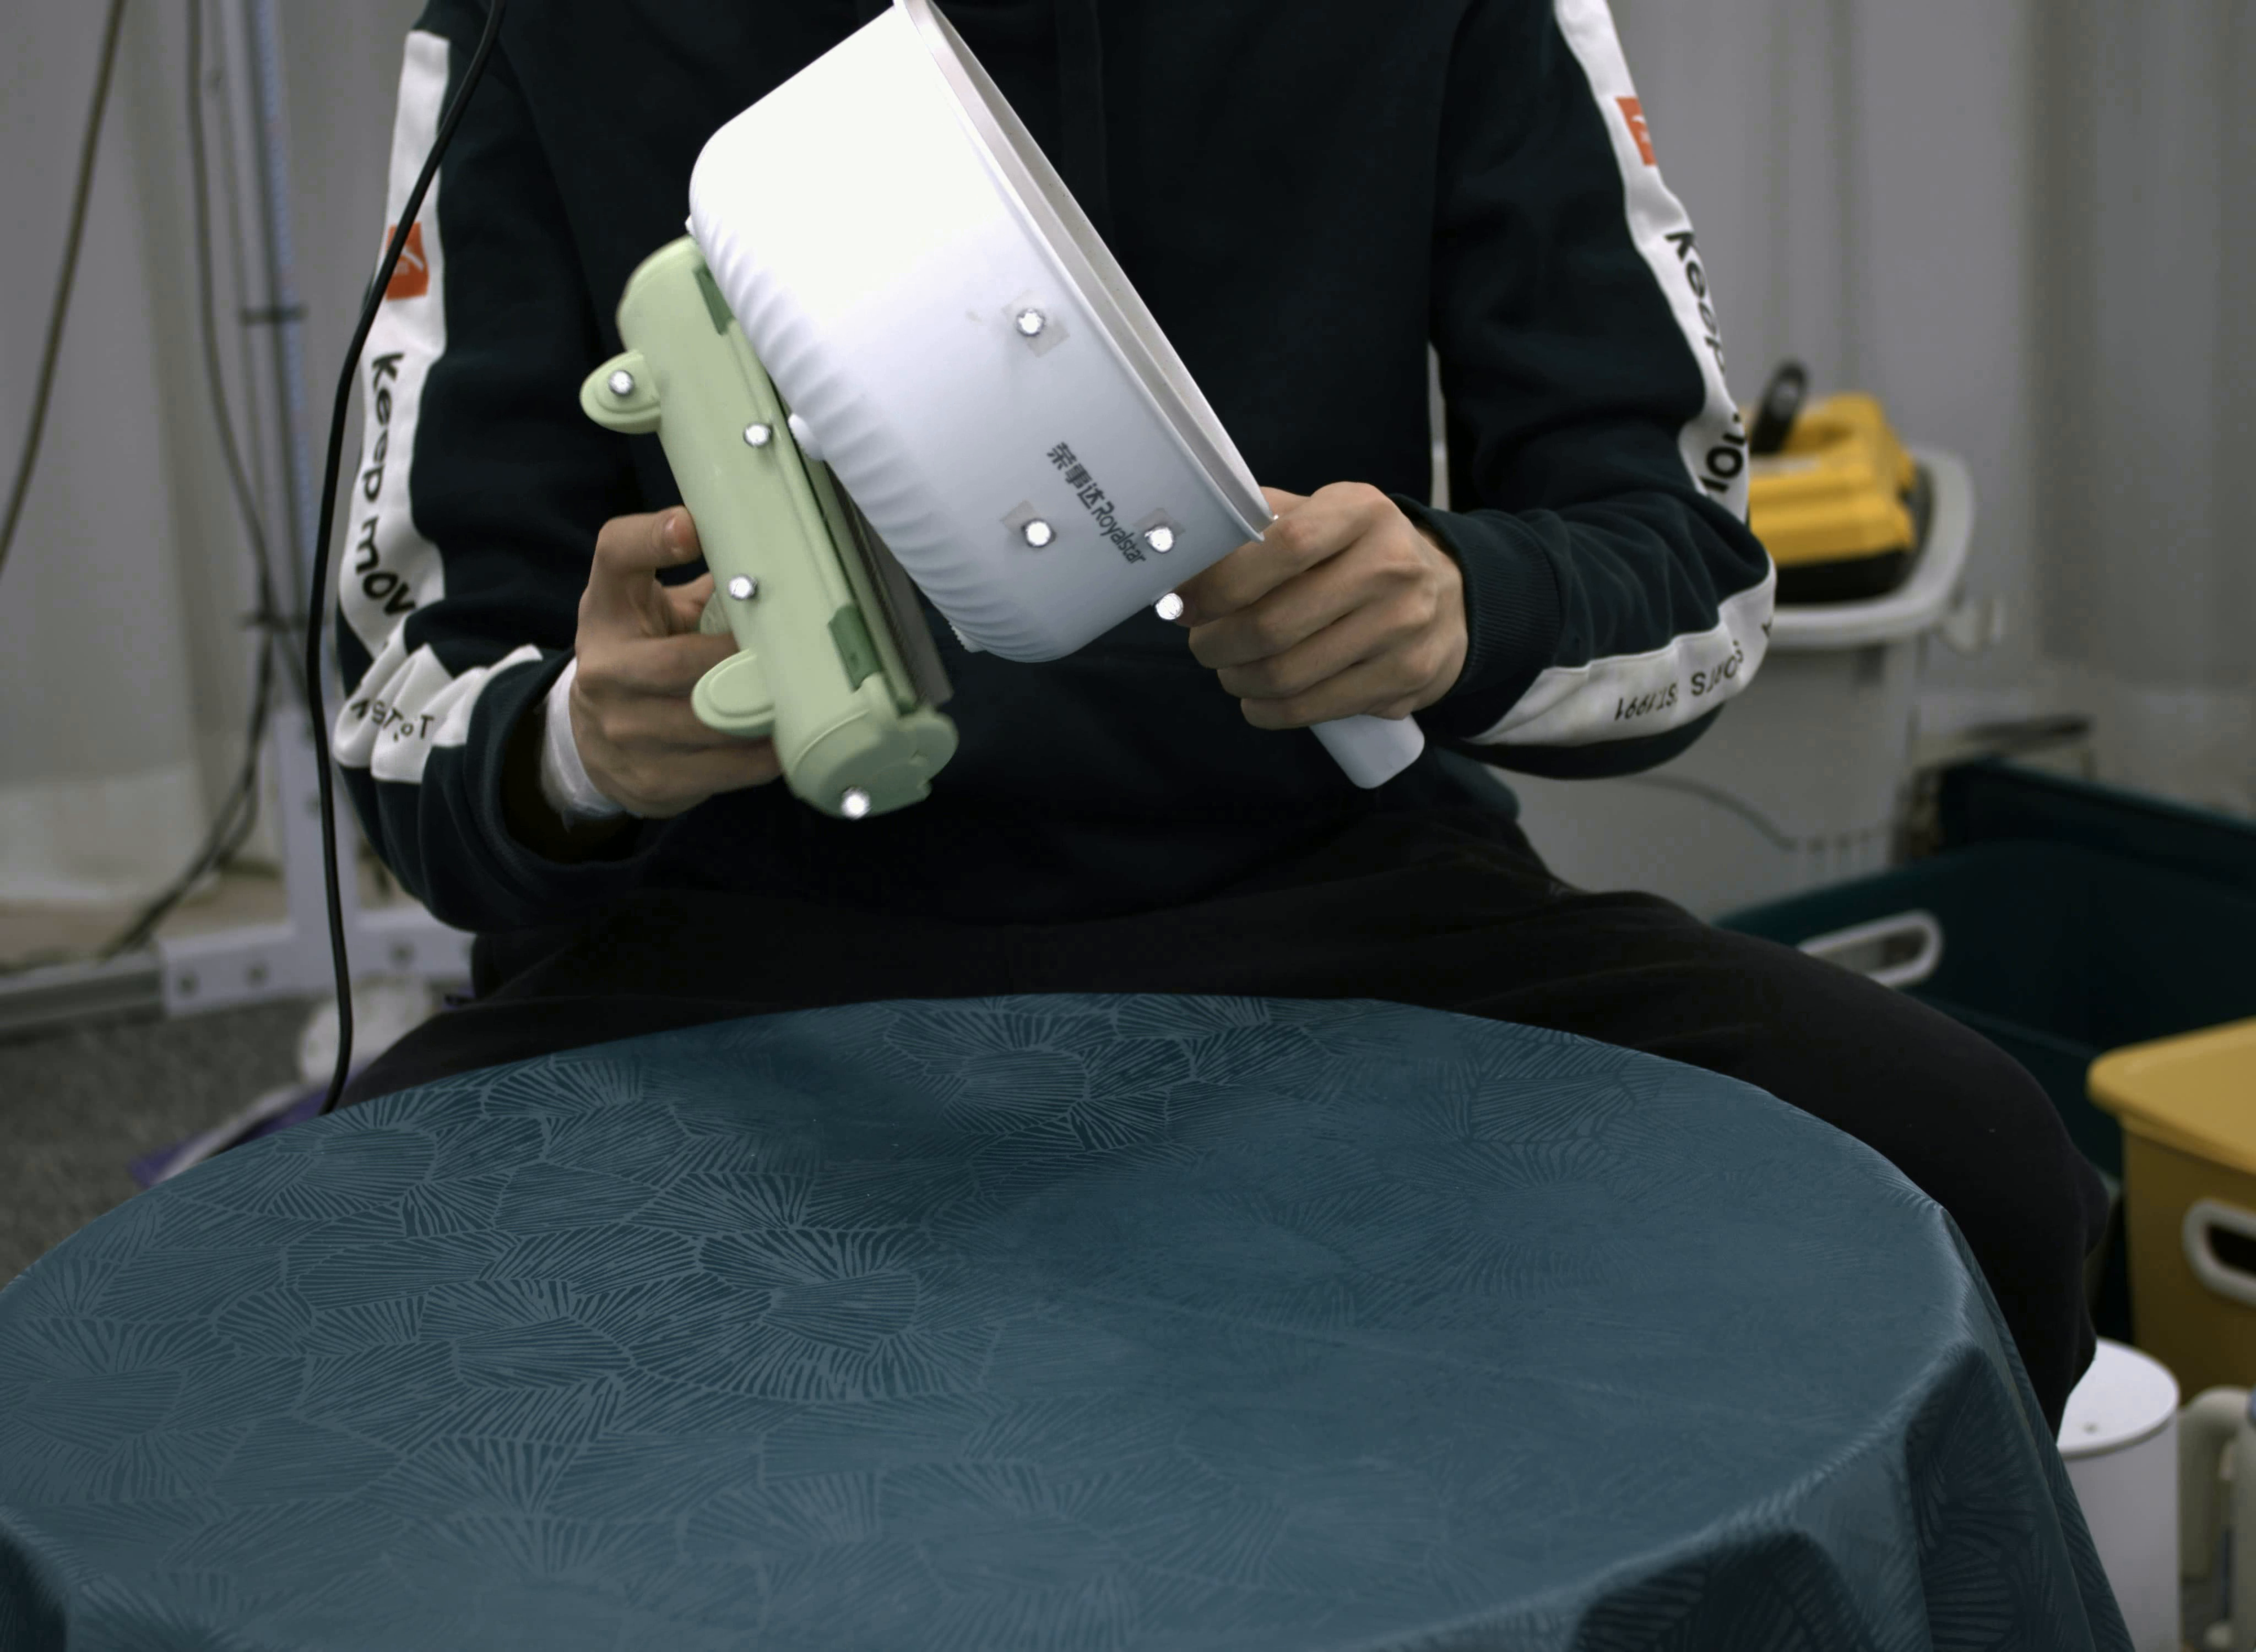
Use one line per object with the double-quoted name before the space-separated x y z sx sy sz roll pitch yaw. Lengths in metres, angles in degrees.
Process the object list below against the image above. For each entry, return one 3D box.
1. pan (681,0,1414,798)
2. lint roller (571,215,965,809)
"pan" -0.021 -0.105 1.741 0.102 0.350 0.204 -33 46 4
"lint roller" -0.136 -0.068 1.772 0.082 0.201 0.182 -9 -29 -31
